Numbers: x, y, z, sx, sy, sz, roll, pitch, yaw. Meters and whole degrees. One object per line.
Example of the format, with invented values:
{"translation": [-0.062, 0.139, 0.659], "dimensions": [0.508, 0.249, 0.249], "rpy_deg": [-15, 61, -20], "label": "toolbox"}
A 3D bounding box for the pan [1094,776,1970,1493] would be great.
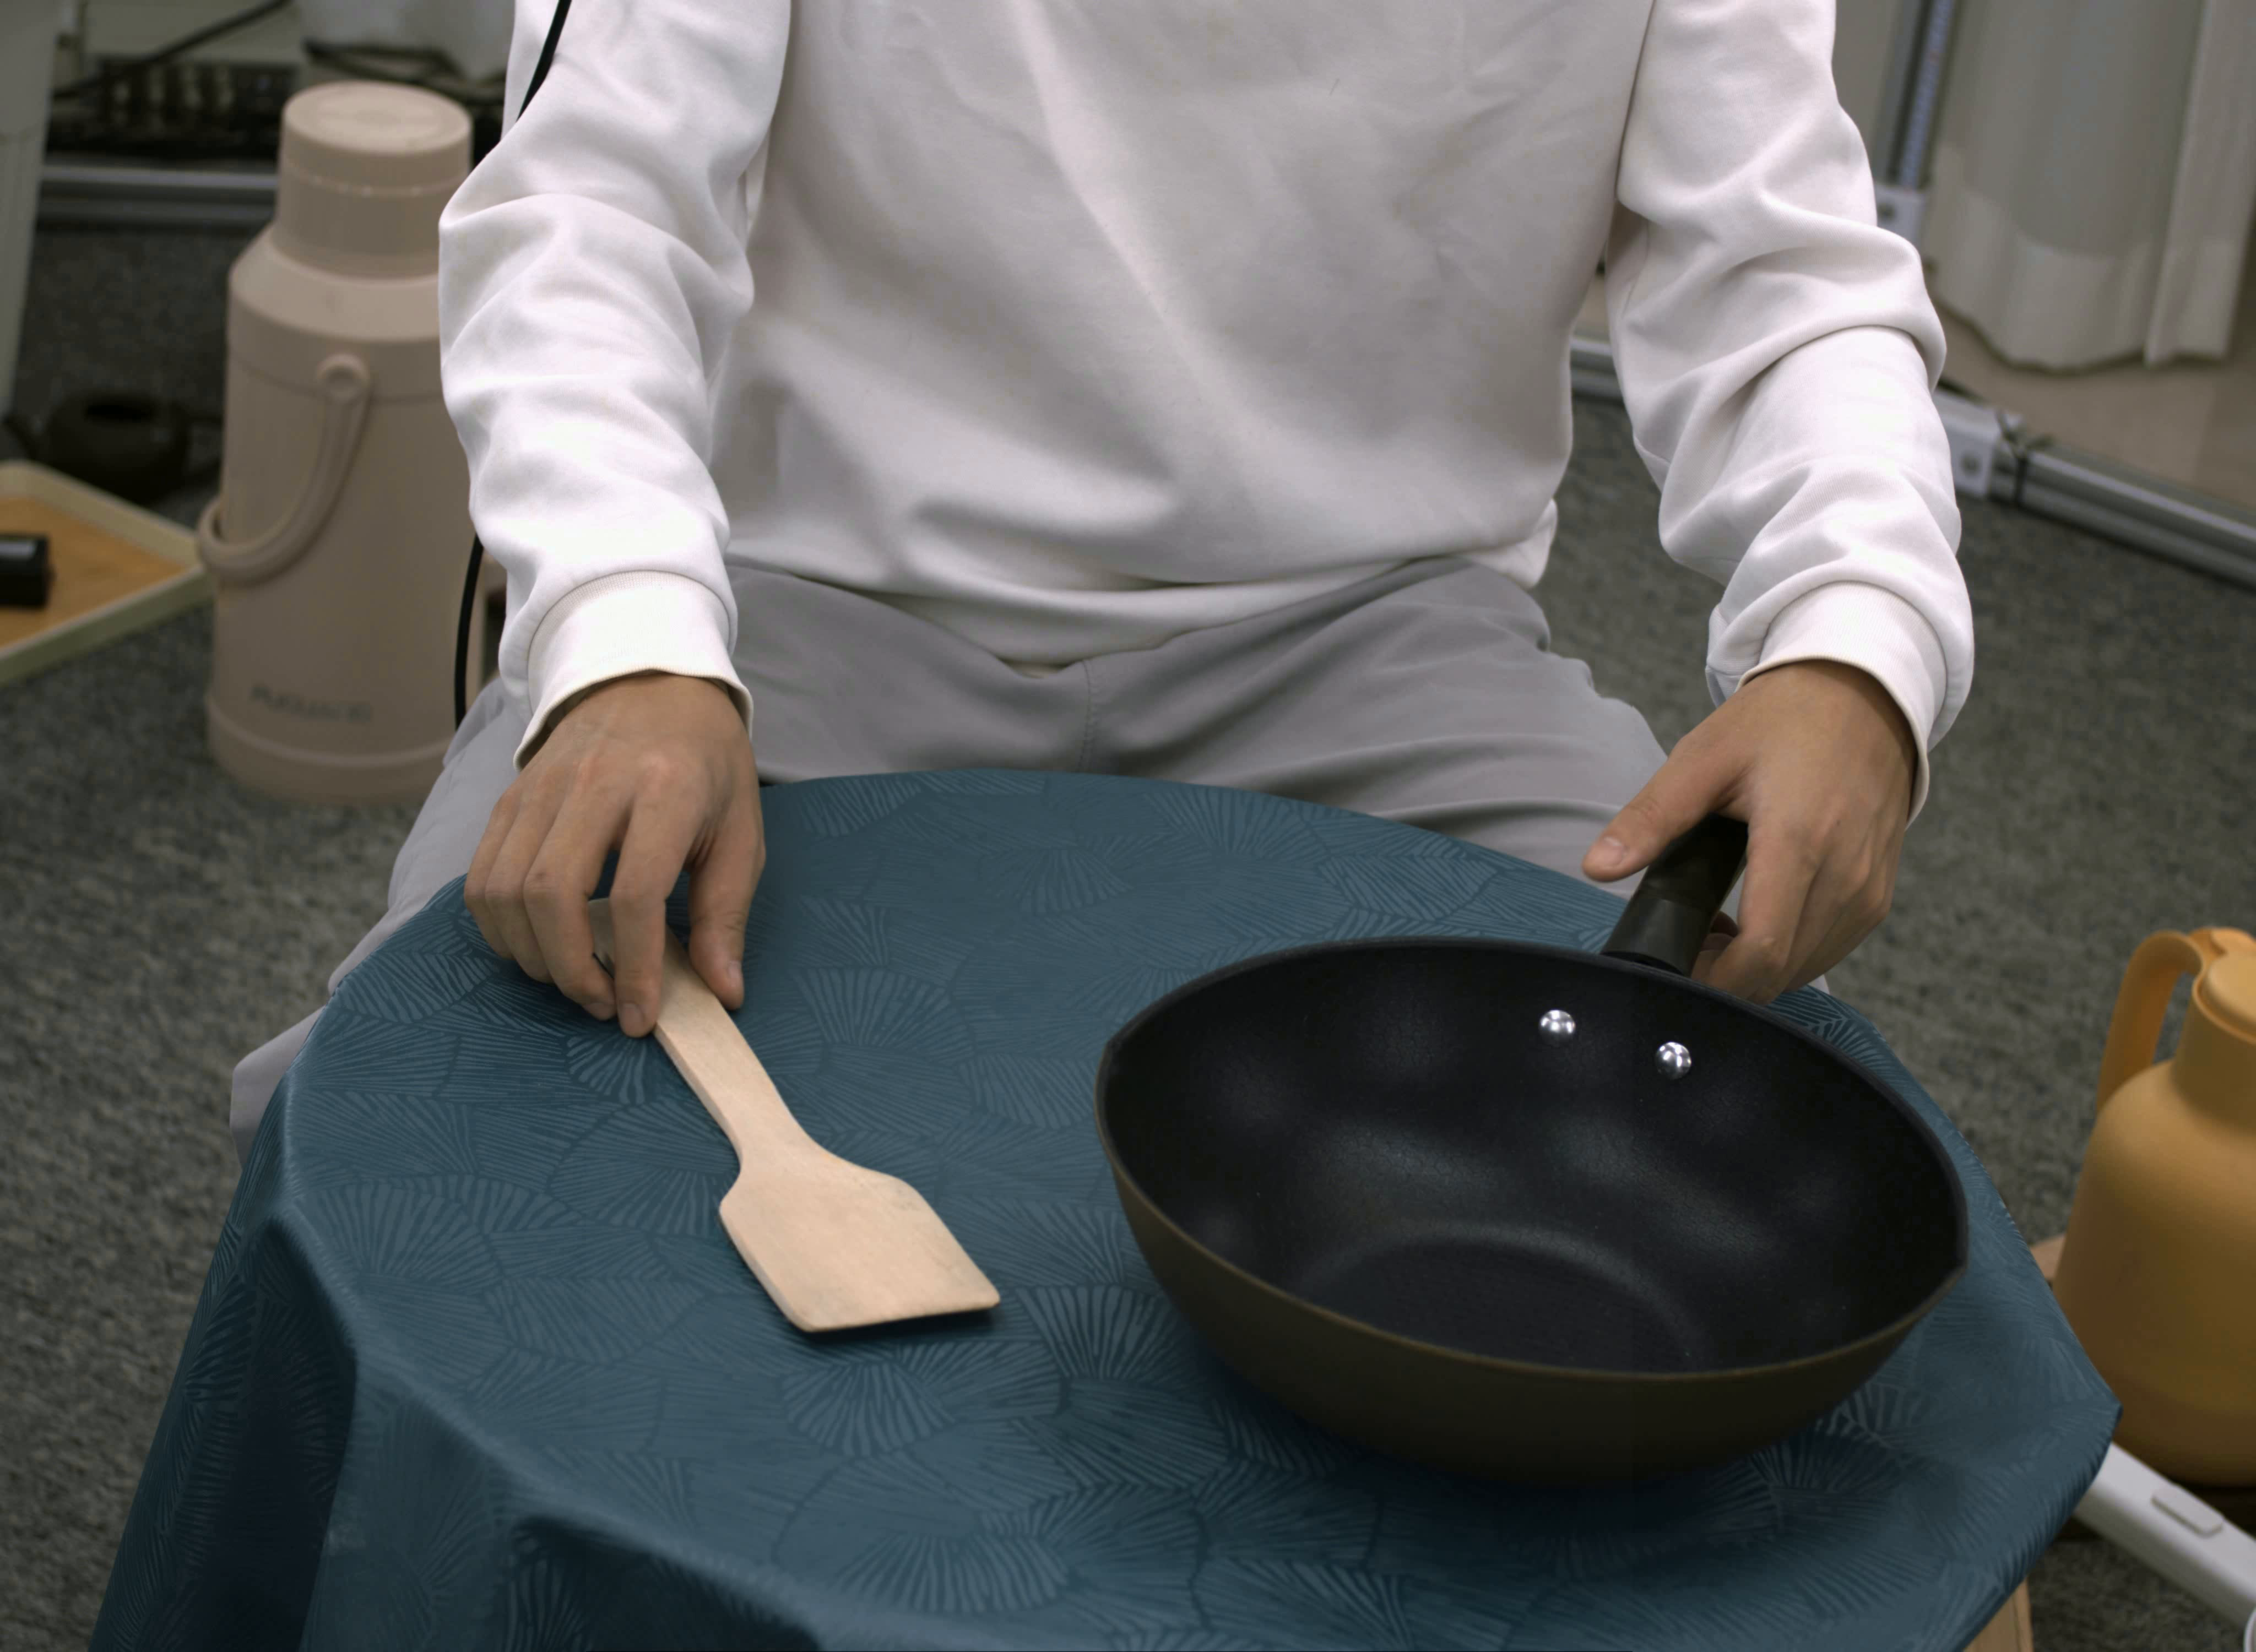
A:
{"translation": [0.154, 0.101, 1.798], "dimensions": [0.288, 0.086, 0.464], "rpy_deg": [15, 27, 14], "label": "pan"}

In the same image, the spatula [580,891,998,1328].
{"translation": [-0.132, 0.093, 1.826], "dimensions": [0.072, 0.010, 0.296], "rpy_deg": [-6, 30, -24], "label": "spatula"}
